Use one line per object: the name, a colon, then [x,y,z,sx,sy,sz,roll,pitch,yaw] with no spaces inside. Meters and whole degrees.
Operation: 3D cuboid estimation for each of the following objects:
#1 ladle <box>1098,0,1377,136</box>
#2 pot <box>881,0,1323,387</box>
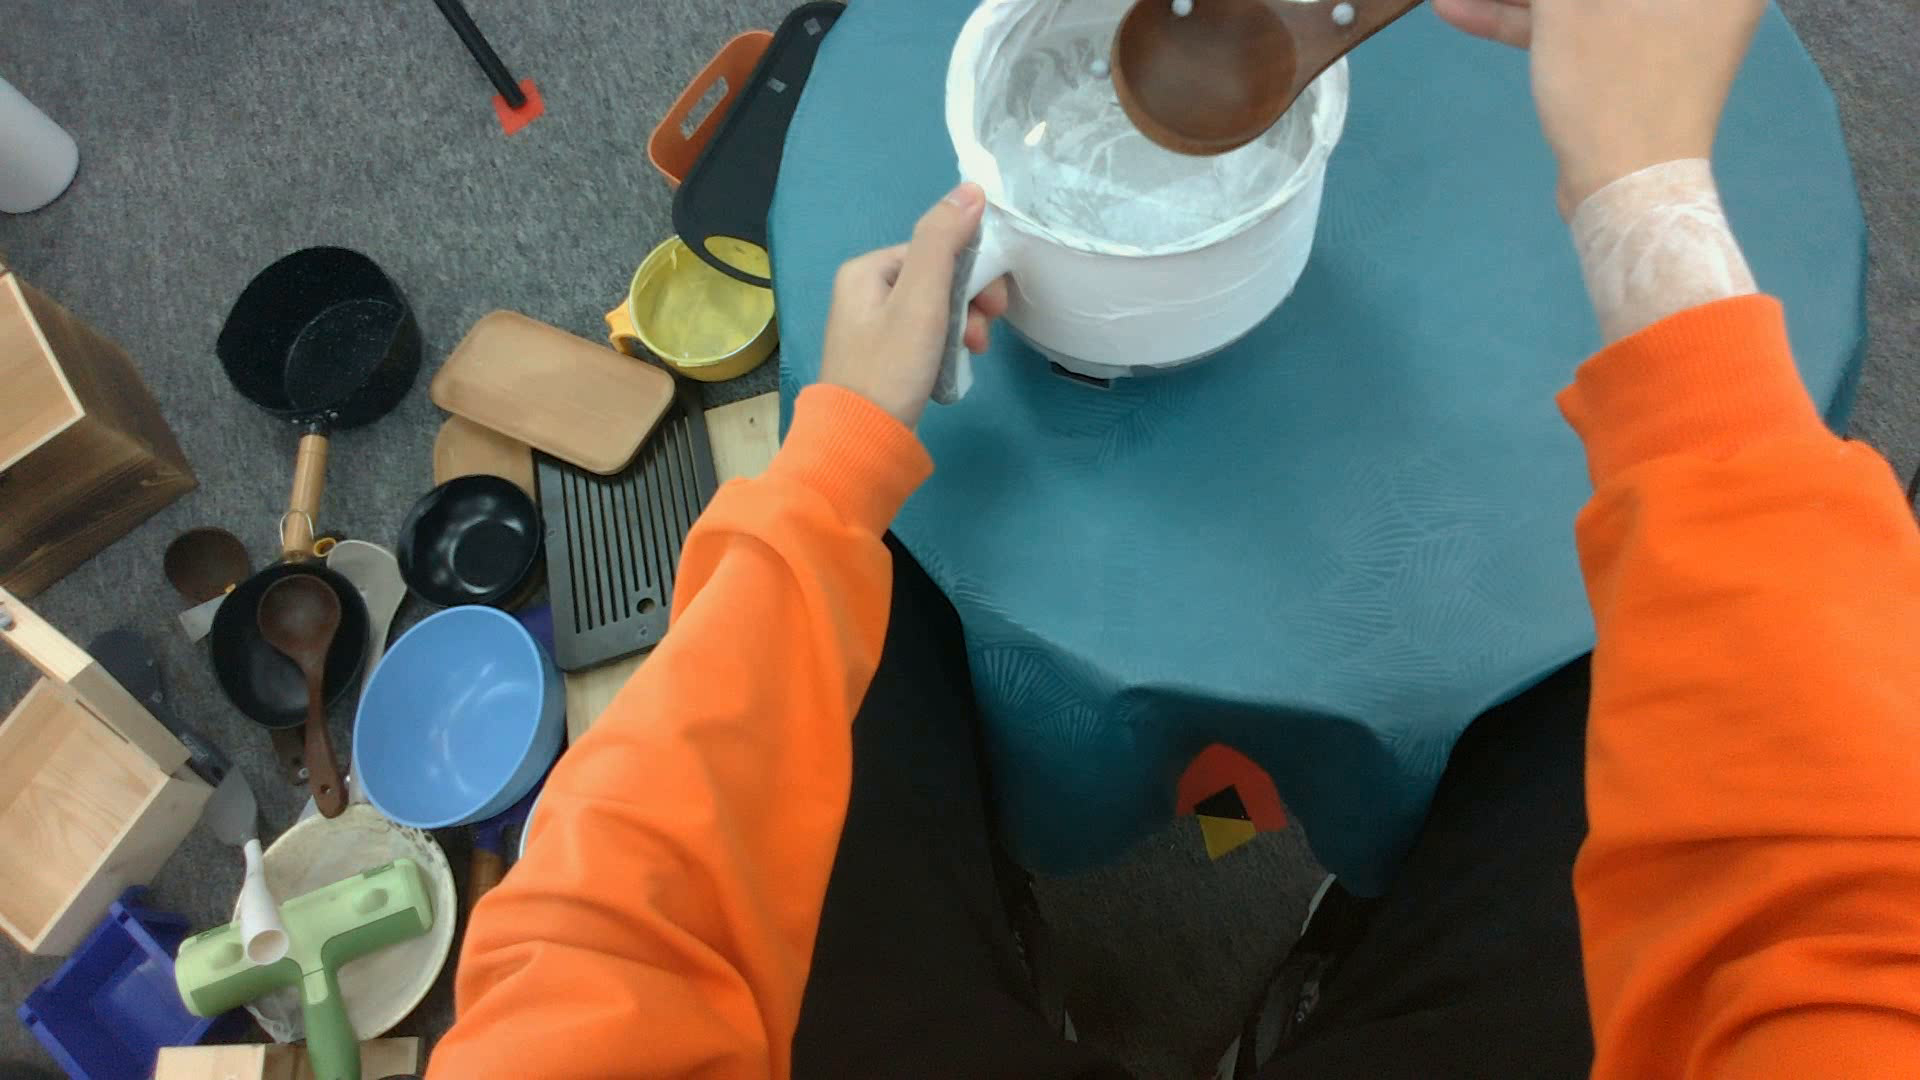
ladle: [0.171,-0.226,0.504,0.259,0.065,0.076,-19,85,33]
pot: [0.056,-0.171,0.666,0.234,0.136,0.179,-41,70,-11]
